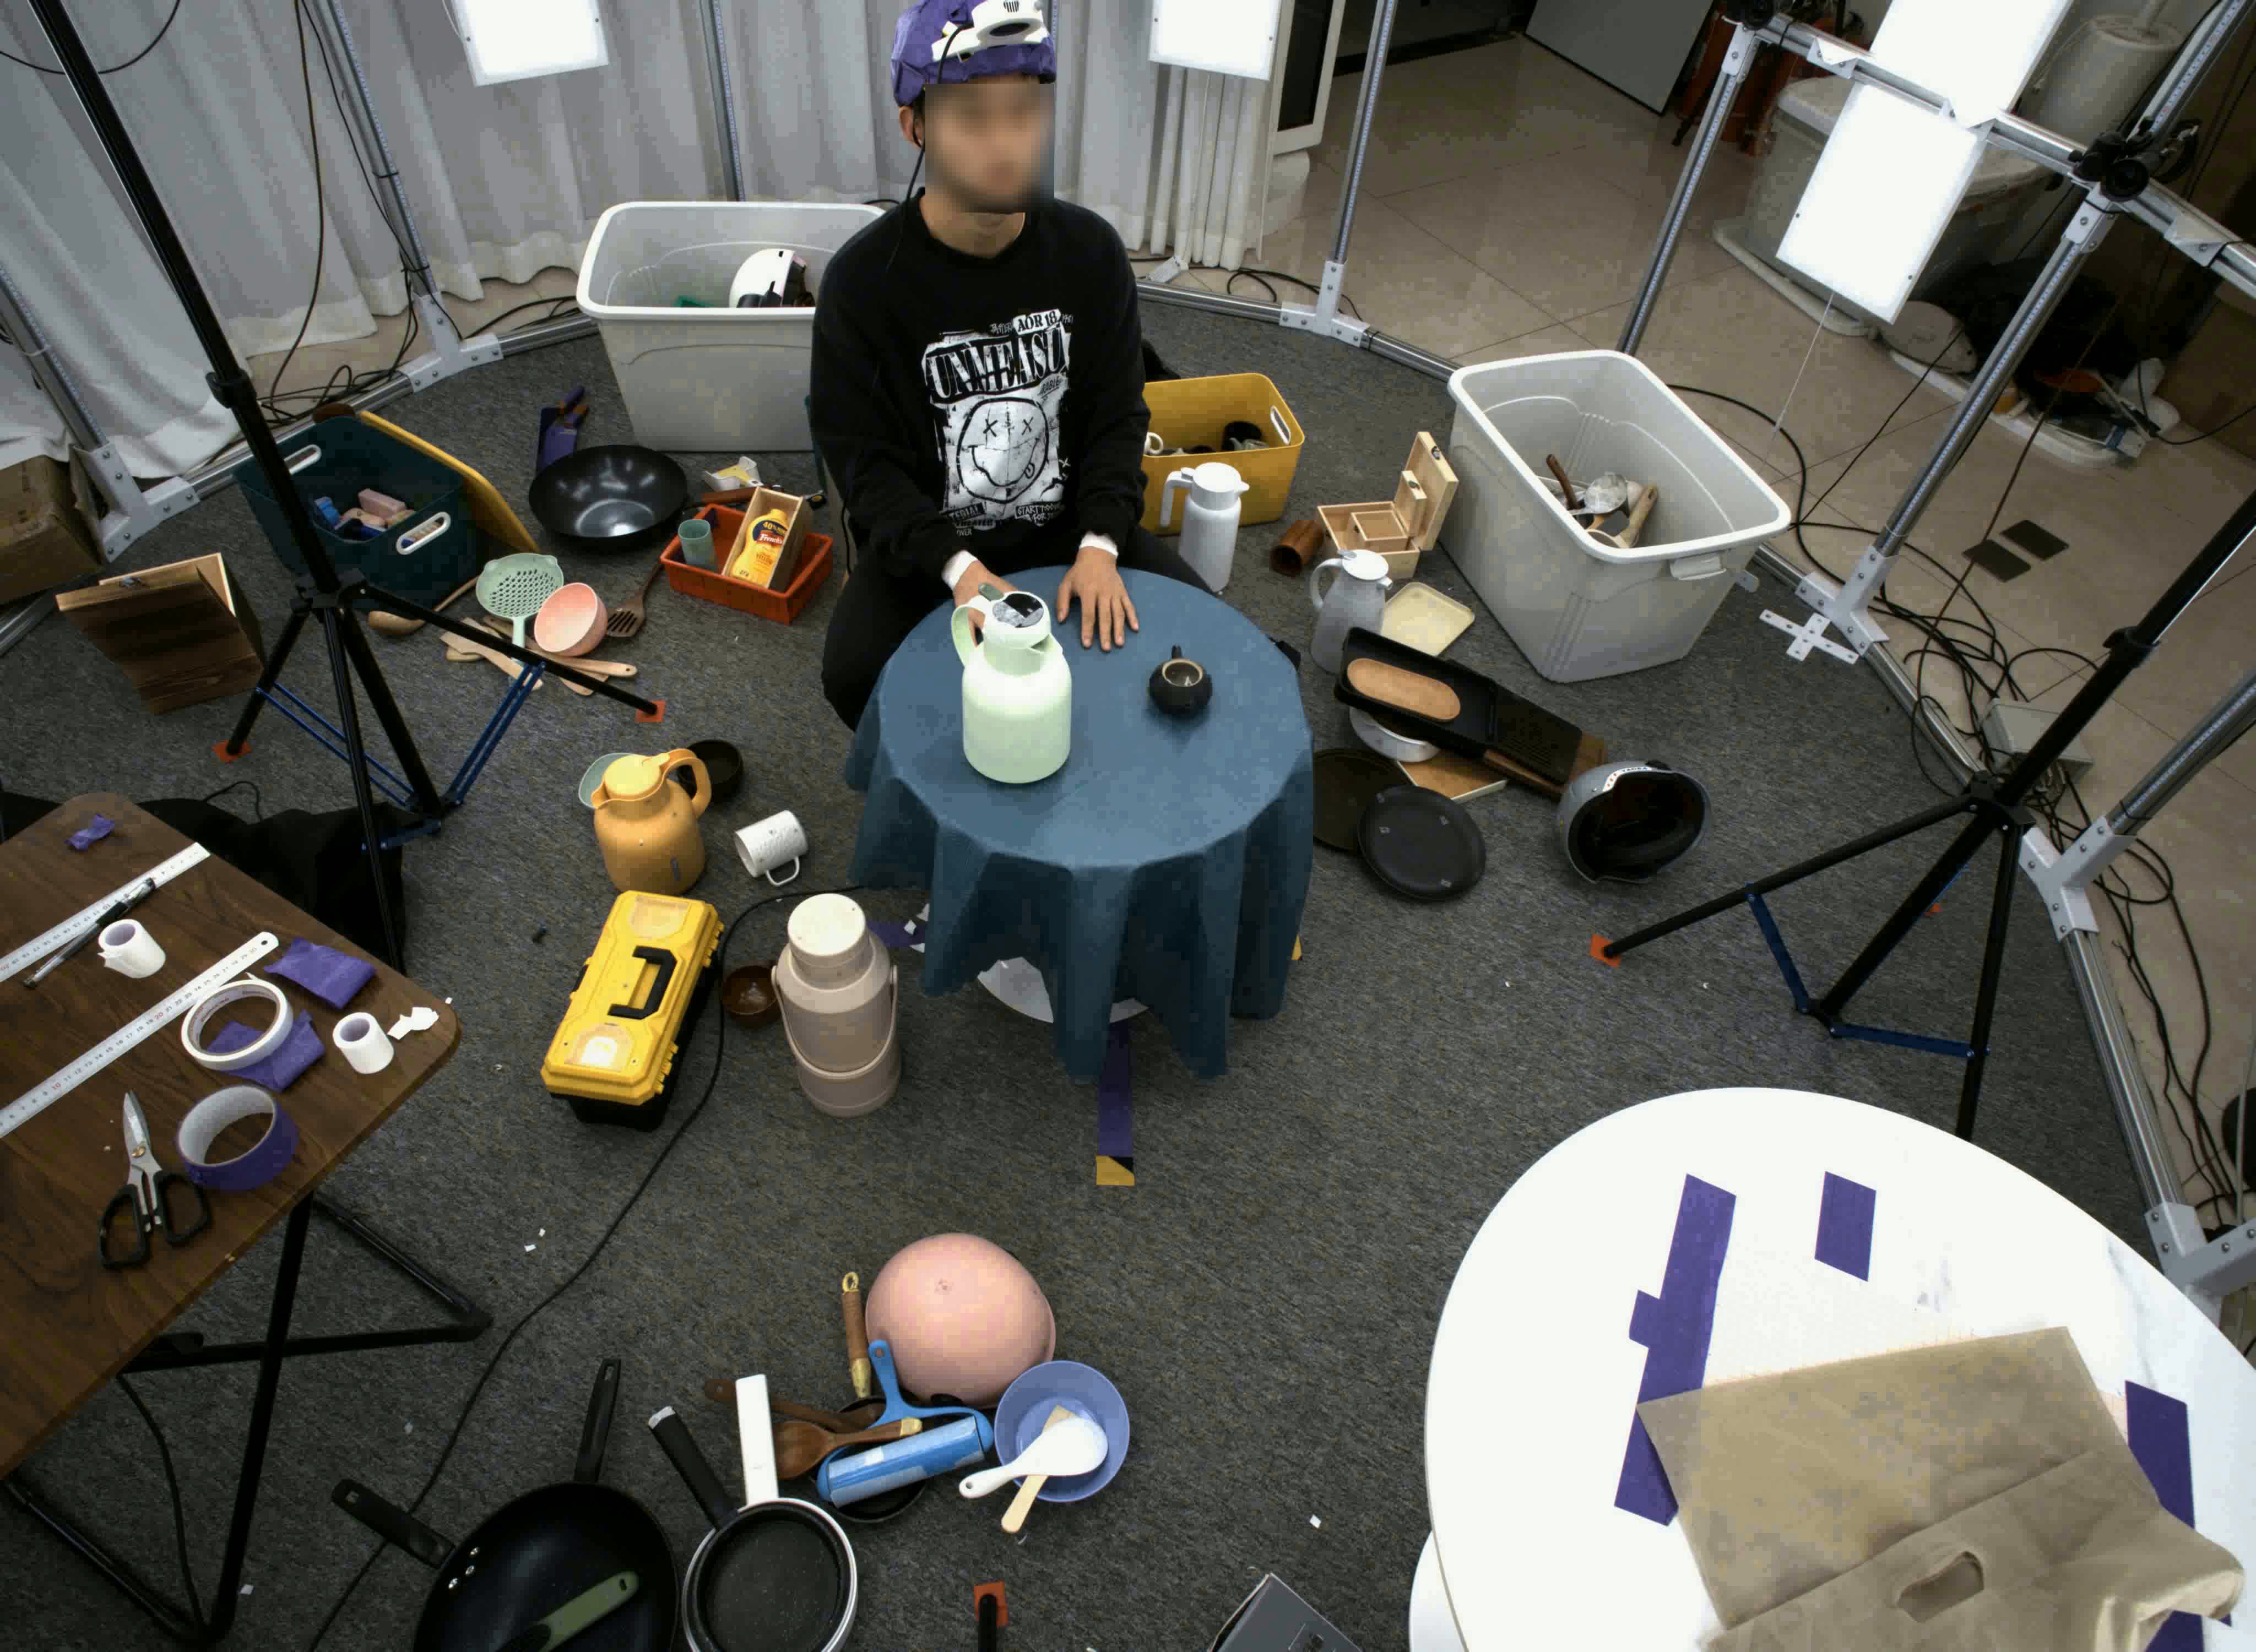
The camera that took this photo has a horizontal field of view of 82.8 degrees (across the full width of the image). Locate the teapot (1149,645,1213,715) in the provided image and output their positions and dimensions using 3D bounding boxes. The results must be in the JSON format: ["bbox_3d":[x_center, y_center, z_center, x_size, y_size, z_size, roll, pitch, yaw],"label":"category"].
[{"bbox_3d":[0.075,-0.199,1.812,0.091,0.052,0.136,-1,49,-7],"label":"teapot"}]

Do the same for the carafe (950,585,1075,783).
[{"bbox_3d":[-0.153,-0.191,1.665,0.189,0.250,0.145,35,58,28],"label":"carafe"}]
